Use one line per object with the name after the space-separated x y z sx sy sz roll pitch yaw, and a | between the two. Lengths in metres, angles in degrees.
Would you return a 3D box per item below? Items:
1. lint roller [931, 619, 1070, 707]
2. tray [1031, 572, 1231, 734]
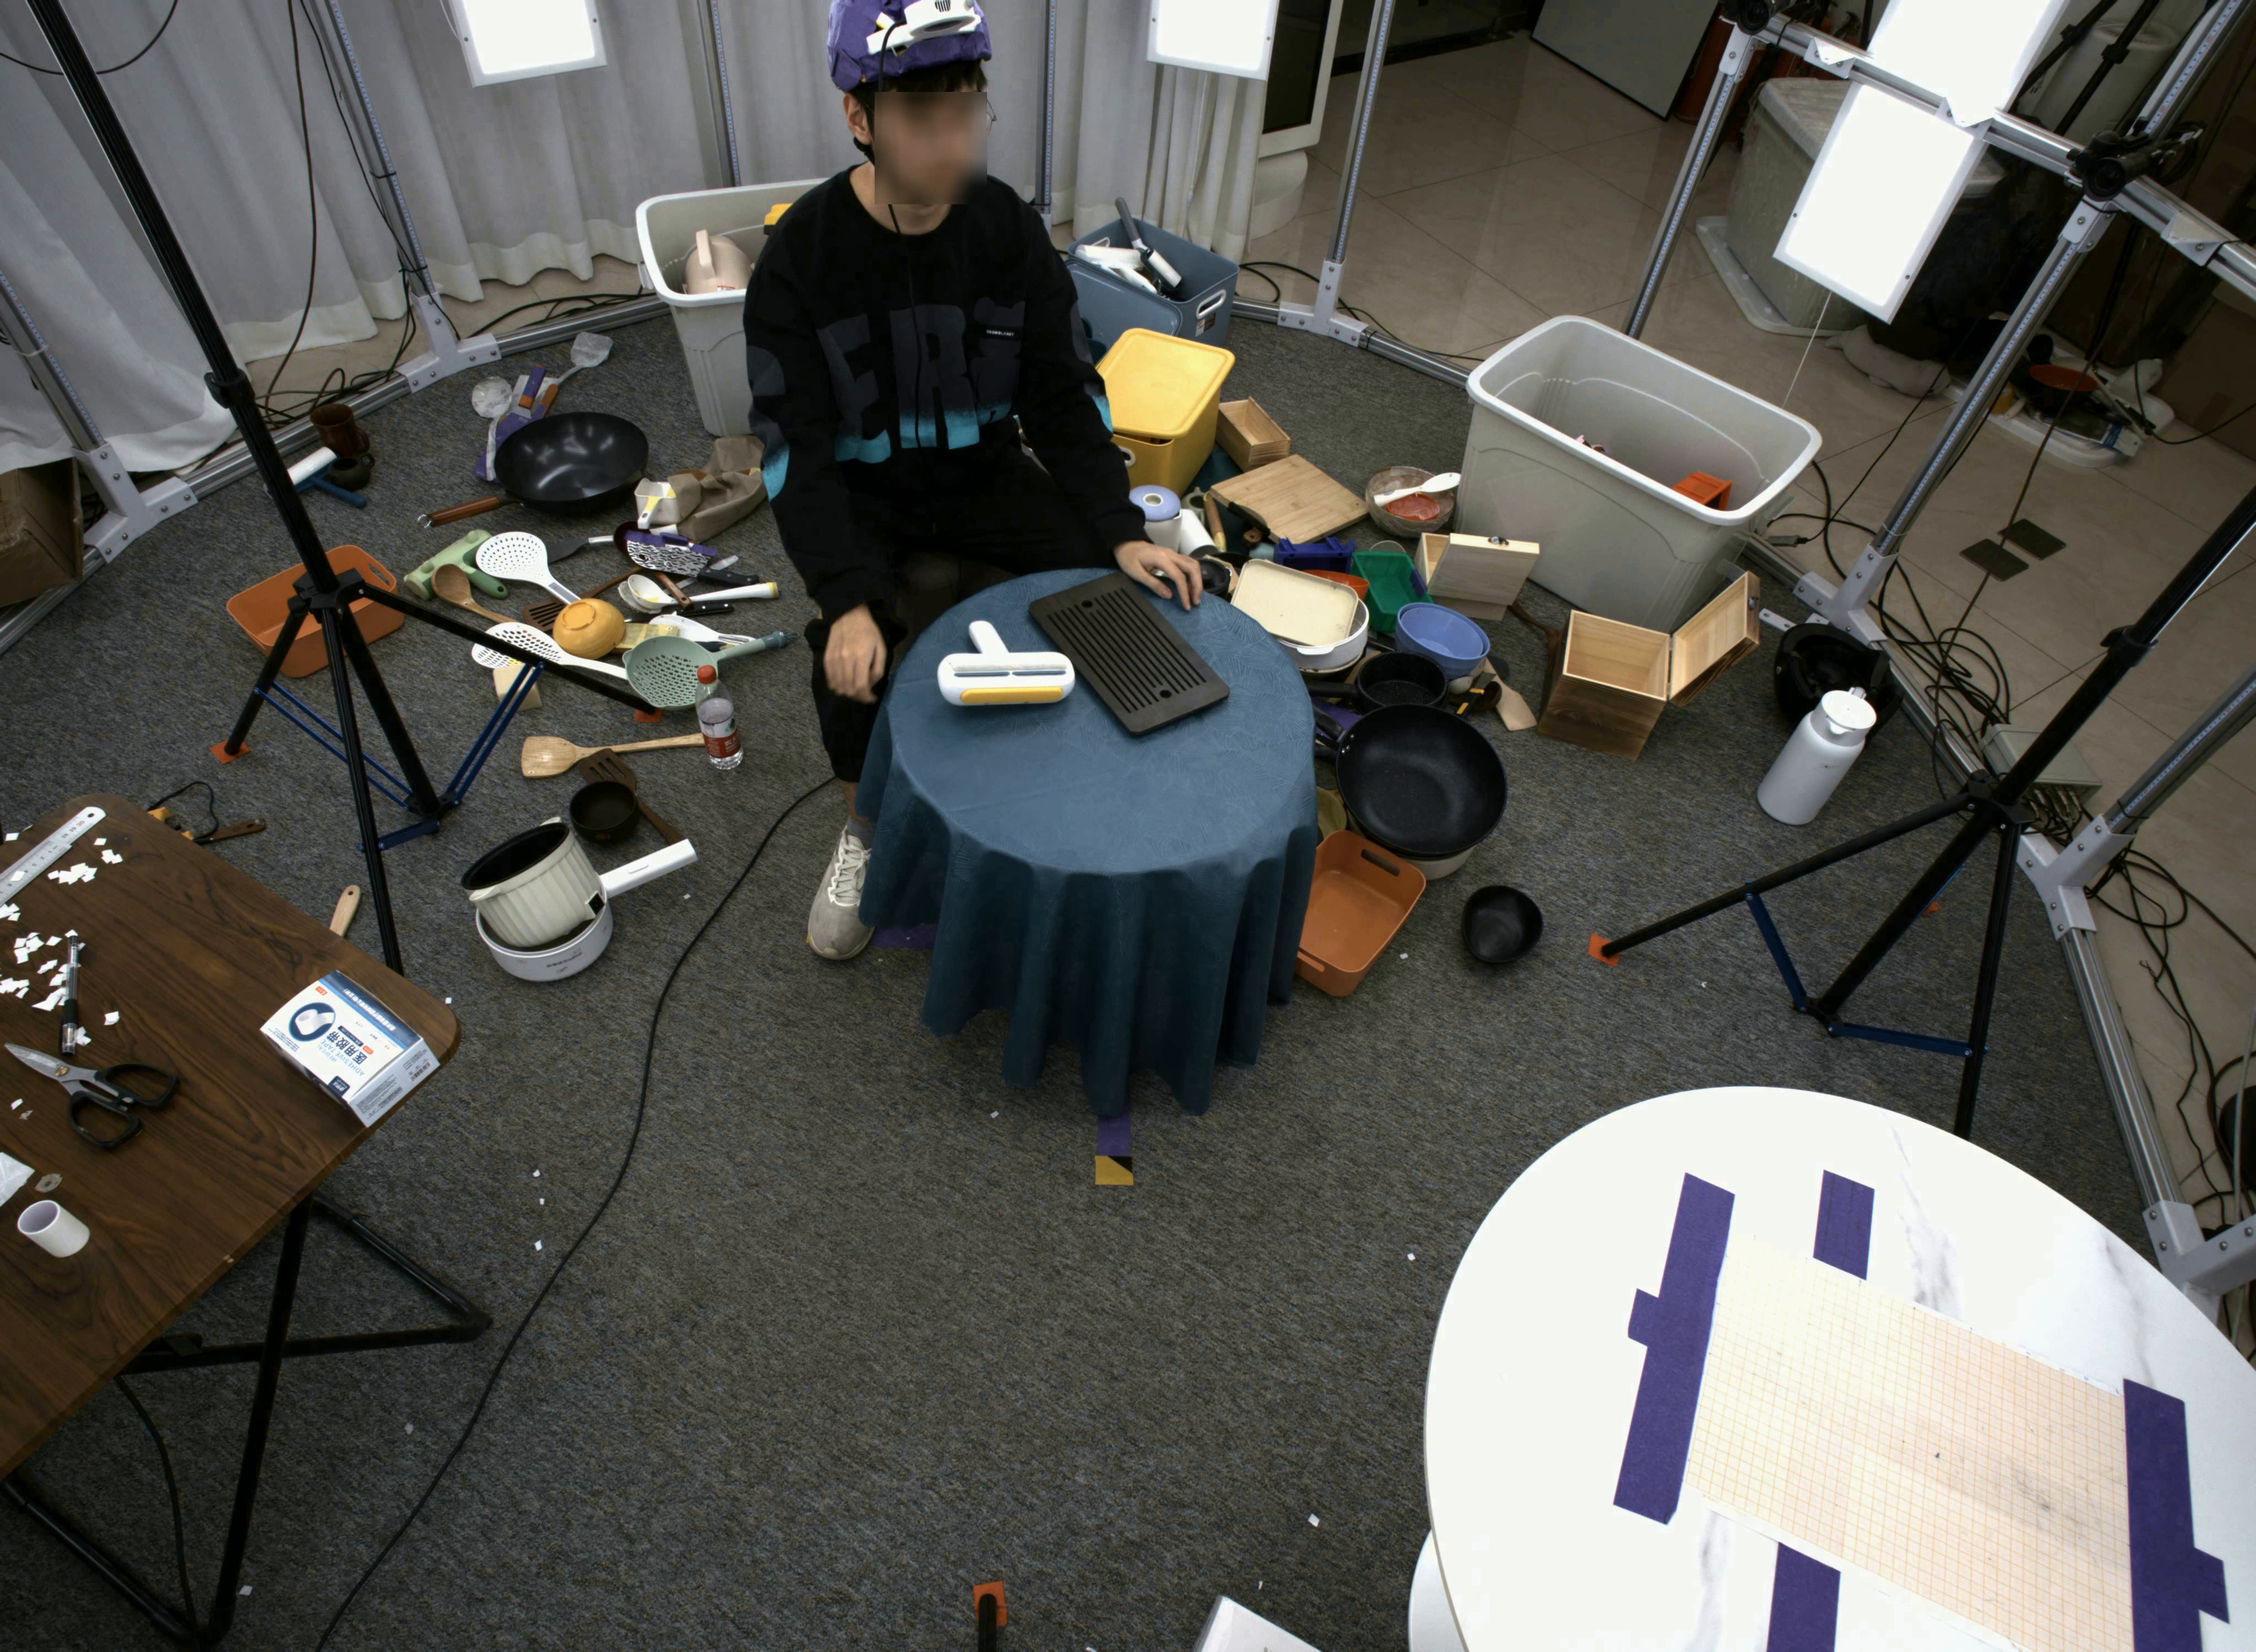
-0.189 -0.242 1.822 0.192 0.072 0.197 -4 48 -15 | lint roller
0.001 -0.257 1.879 0.171 0.018 0.312 -23 54 -22 | tray
